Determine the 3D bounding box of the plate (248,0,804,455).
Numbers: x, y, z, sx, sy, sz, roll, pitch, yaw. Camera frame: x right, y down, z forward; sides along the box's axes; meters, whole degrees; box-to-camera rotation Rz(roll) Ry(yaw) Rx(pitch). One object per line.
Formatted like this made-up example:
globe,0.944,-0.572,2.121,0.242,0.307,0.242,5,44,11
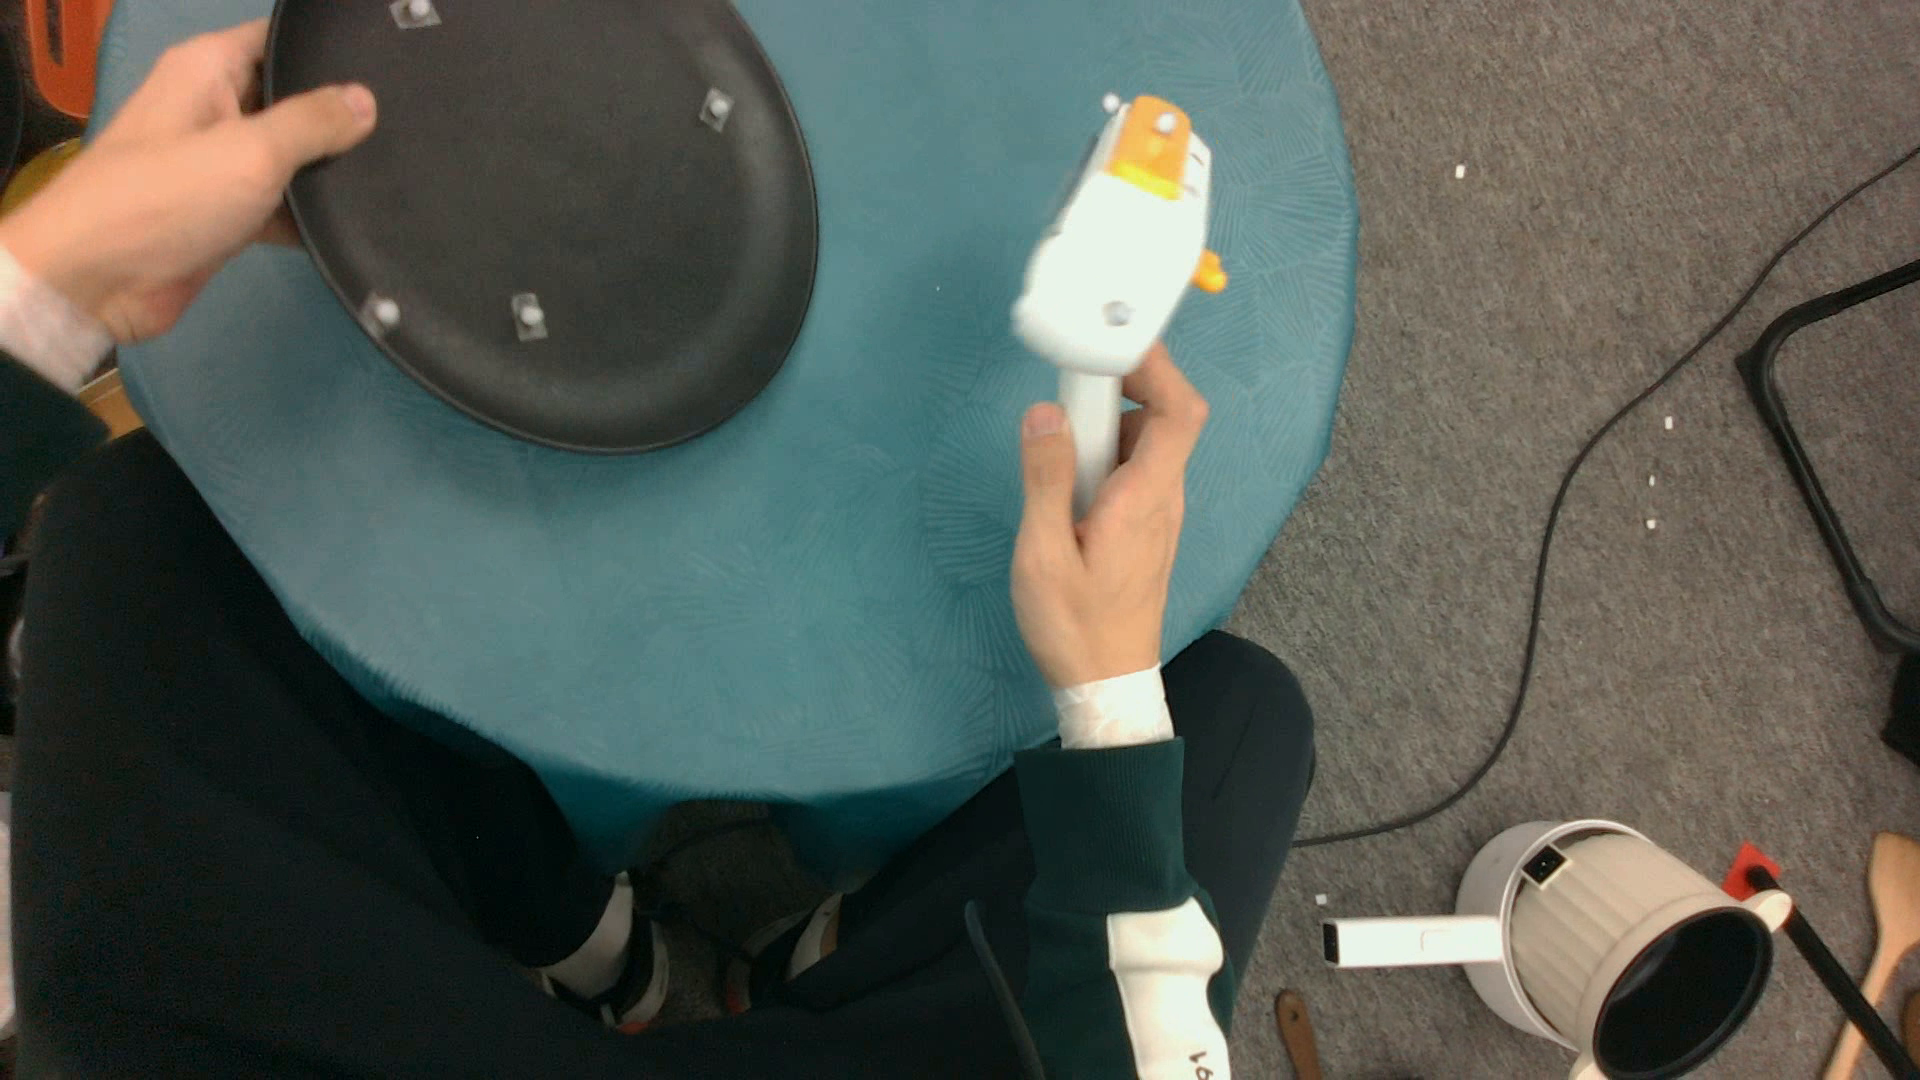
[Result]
plate,-0.169,-0.156,0.577,0.245,0.023,0.244,3,86,-43

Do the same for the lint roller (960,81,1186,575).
lint roller,0.042,-0.072,0.556,0.074,0.191,0.194,15,34,2
